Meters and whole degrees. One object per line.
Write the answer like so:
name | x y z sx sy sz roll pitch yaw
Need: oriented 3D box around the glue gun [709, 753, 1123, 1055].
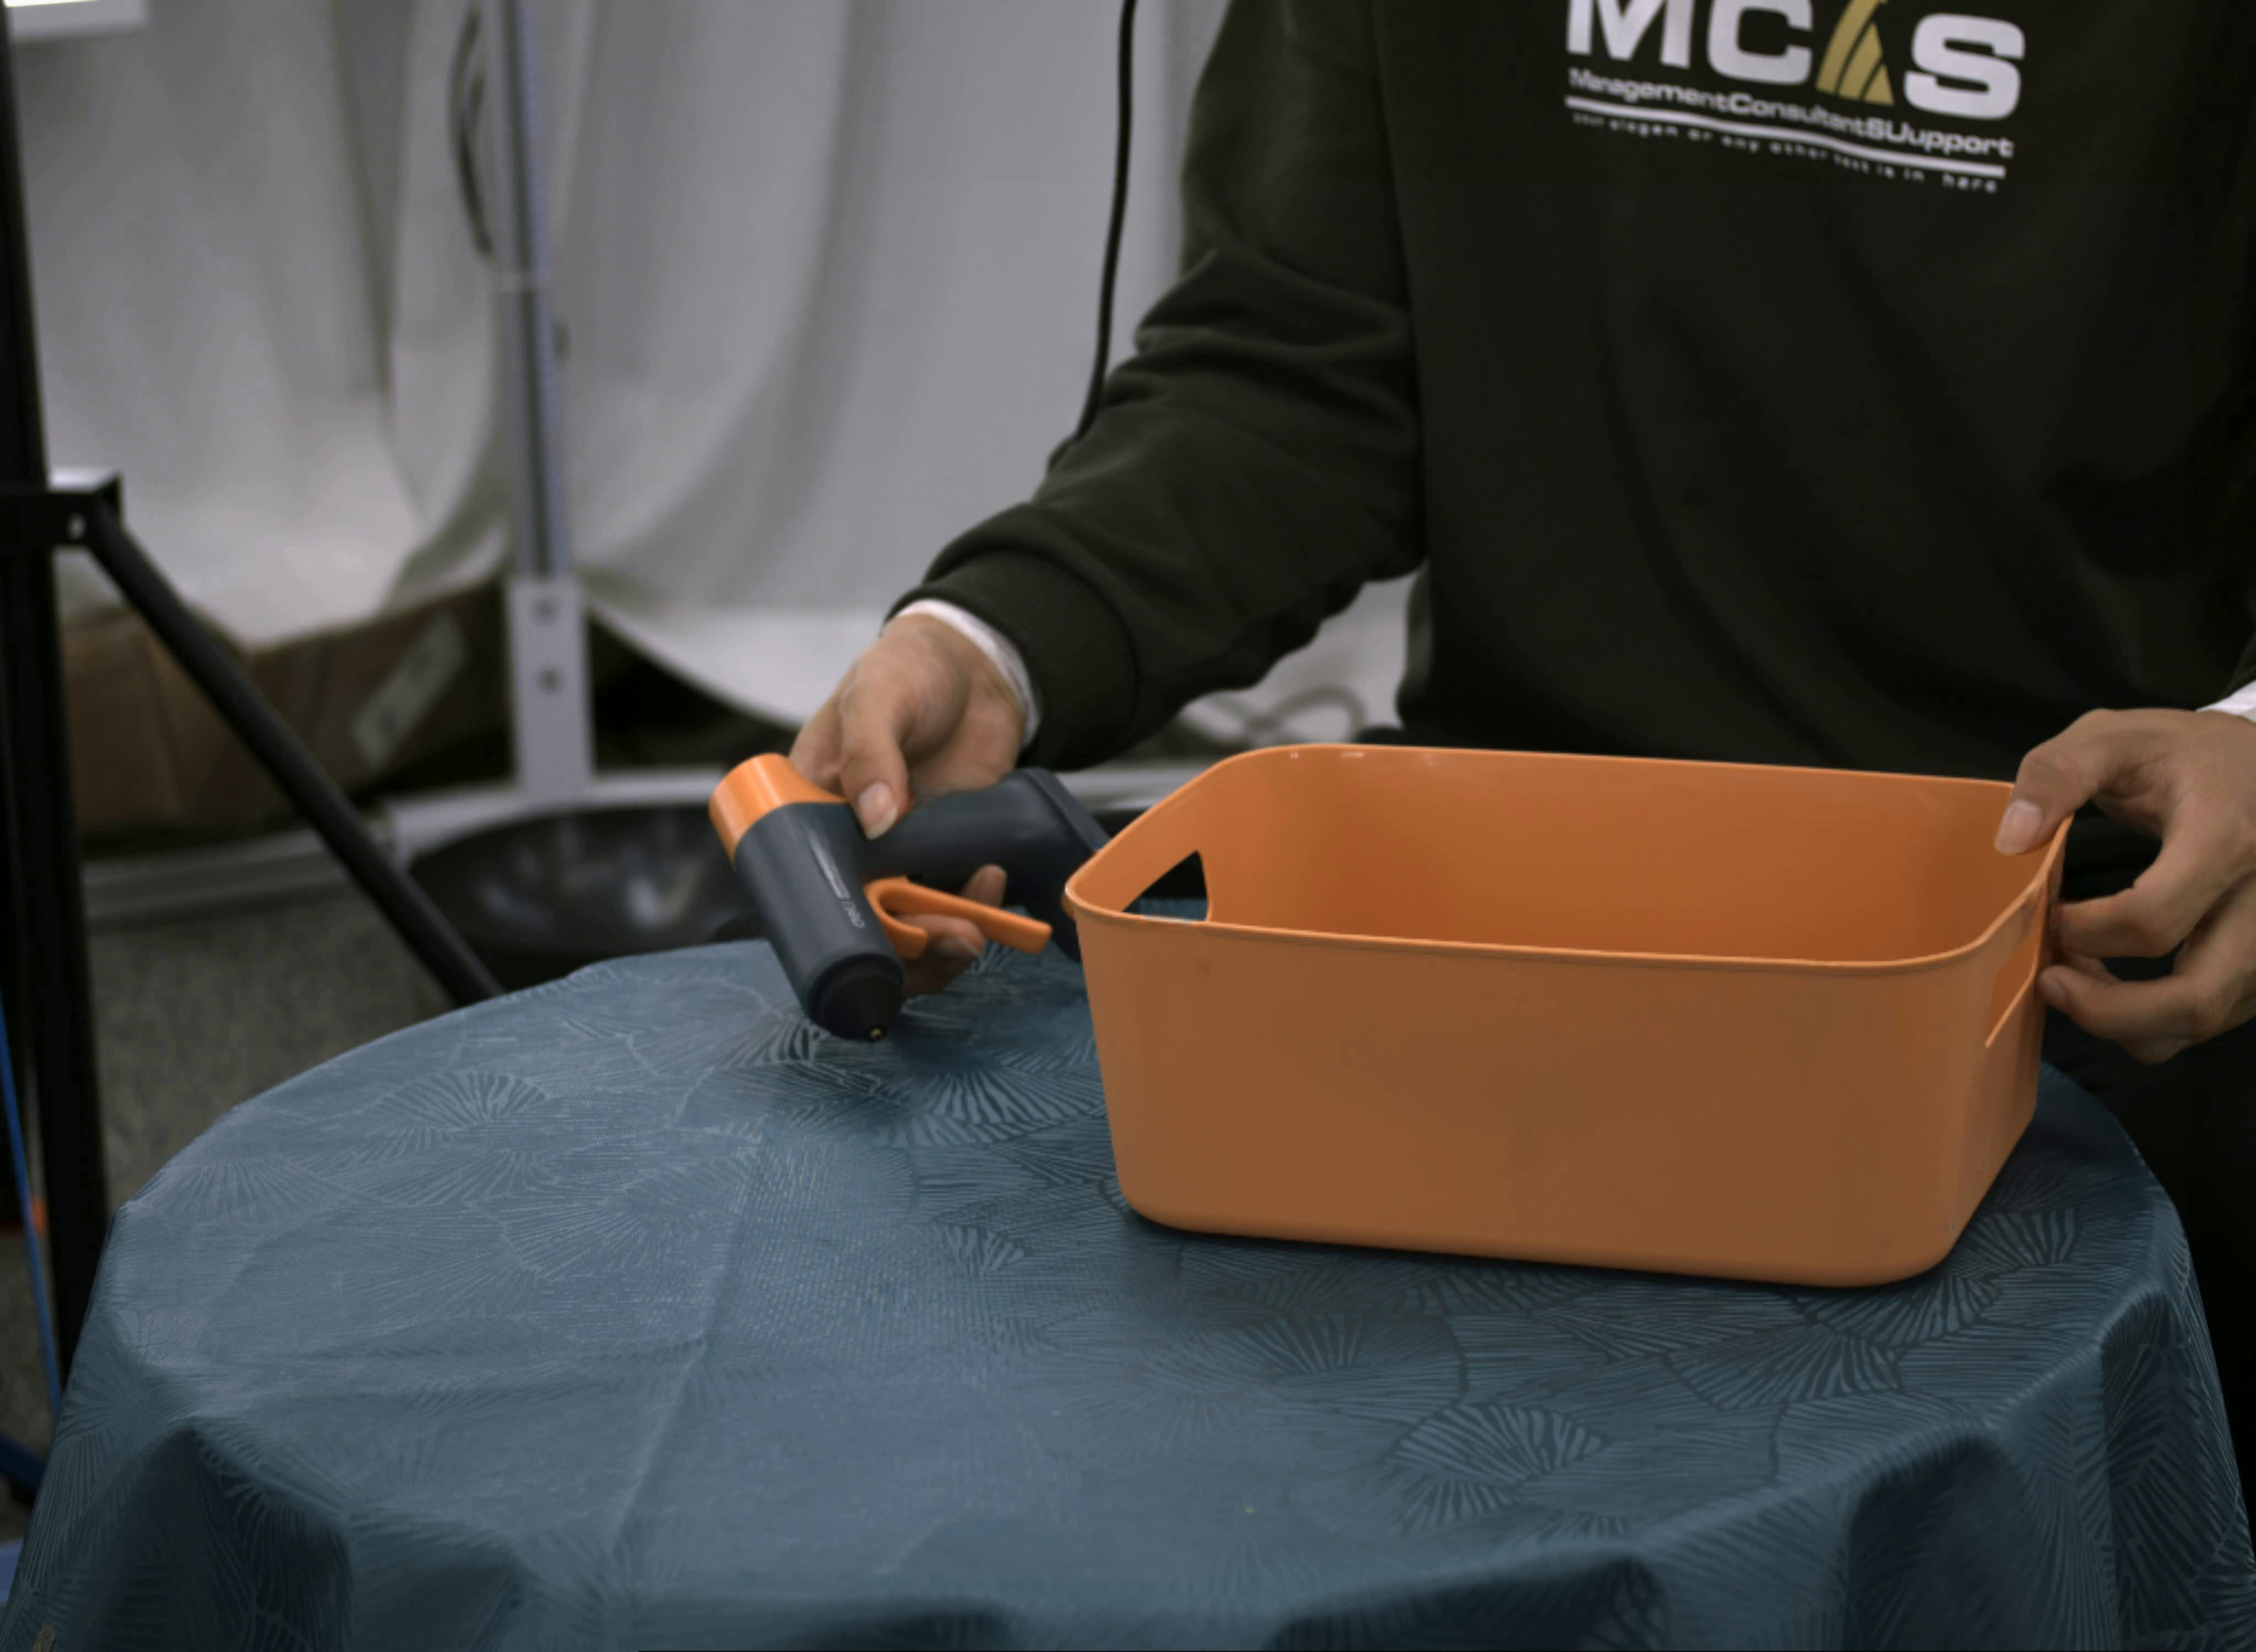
glue gun | -0.068 0.024 1.708 0.136 0.041 0.120 -8 46 -42

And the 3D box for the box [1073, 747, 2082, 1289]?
box | 0.133 0.054 1.540 0.276 0.102 0.197 3 16 21
